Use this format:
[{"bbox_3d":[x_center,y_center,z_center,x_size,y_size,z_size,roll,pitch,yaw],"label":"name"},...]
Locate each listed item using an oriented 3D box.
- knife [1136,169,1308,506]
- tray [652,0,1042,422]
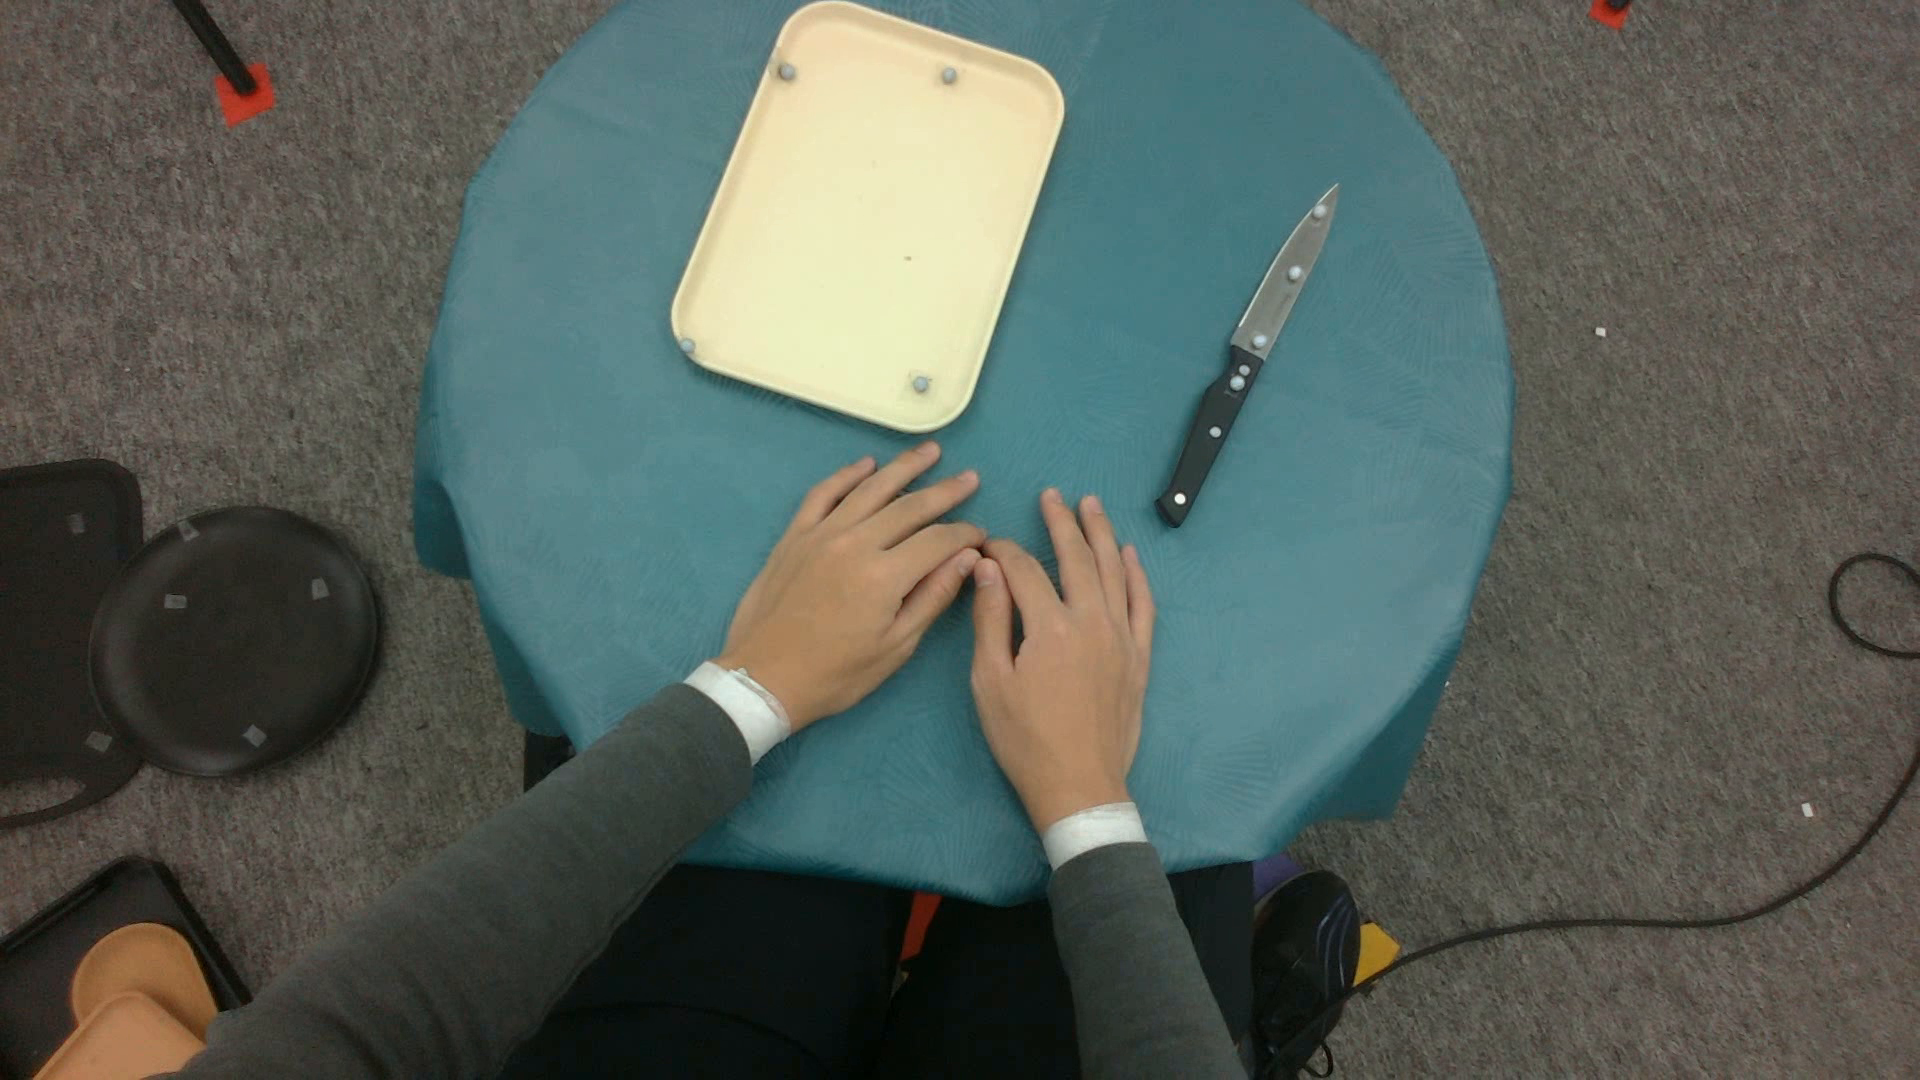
[{"bbox_3d":[0.155,-0.118,0.777,0.024,0.016,0.239,27,71,1],"label":"knife"},{"bbox_3d":[-0.060,-0.189,0.774,0.171,0.017,0.240,18,74,-1],"label":"tray"}]
